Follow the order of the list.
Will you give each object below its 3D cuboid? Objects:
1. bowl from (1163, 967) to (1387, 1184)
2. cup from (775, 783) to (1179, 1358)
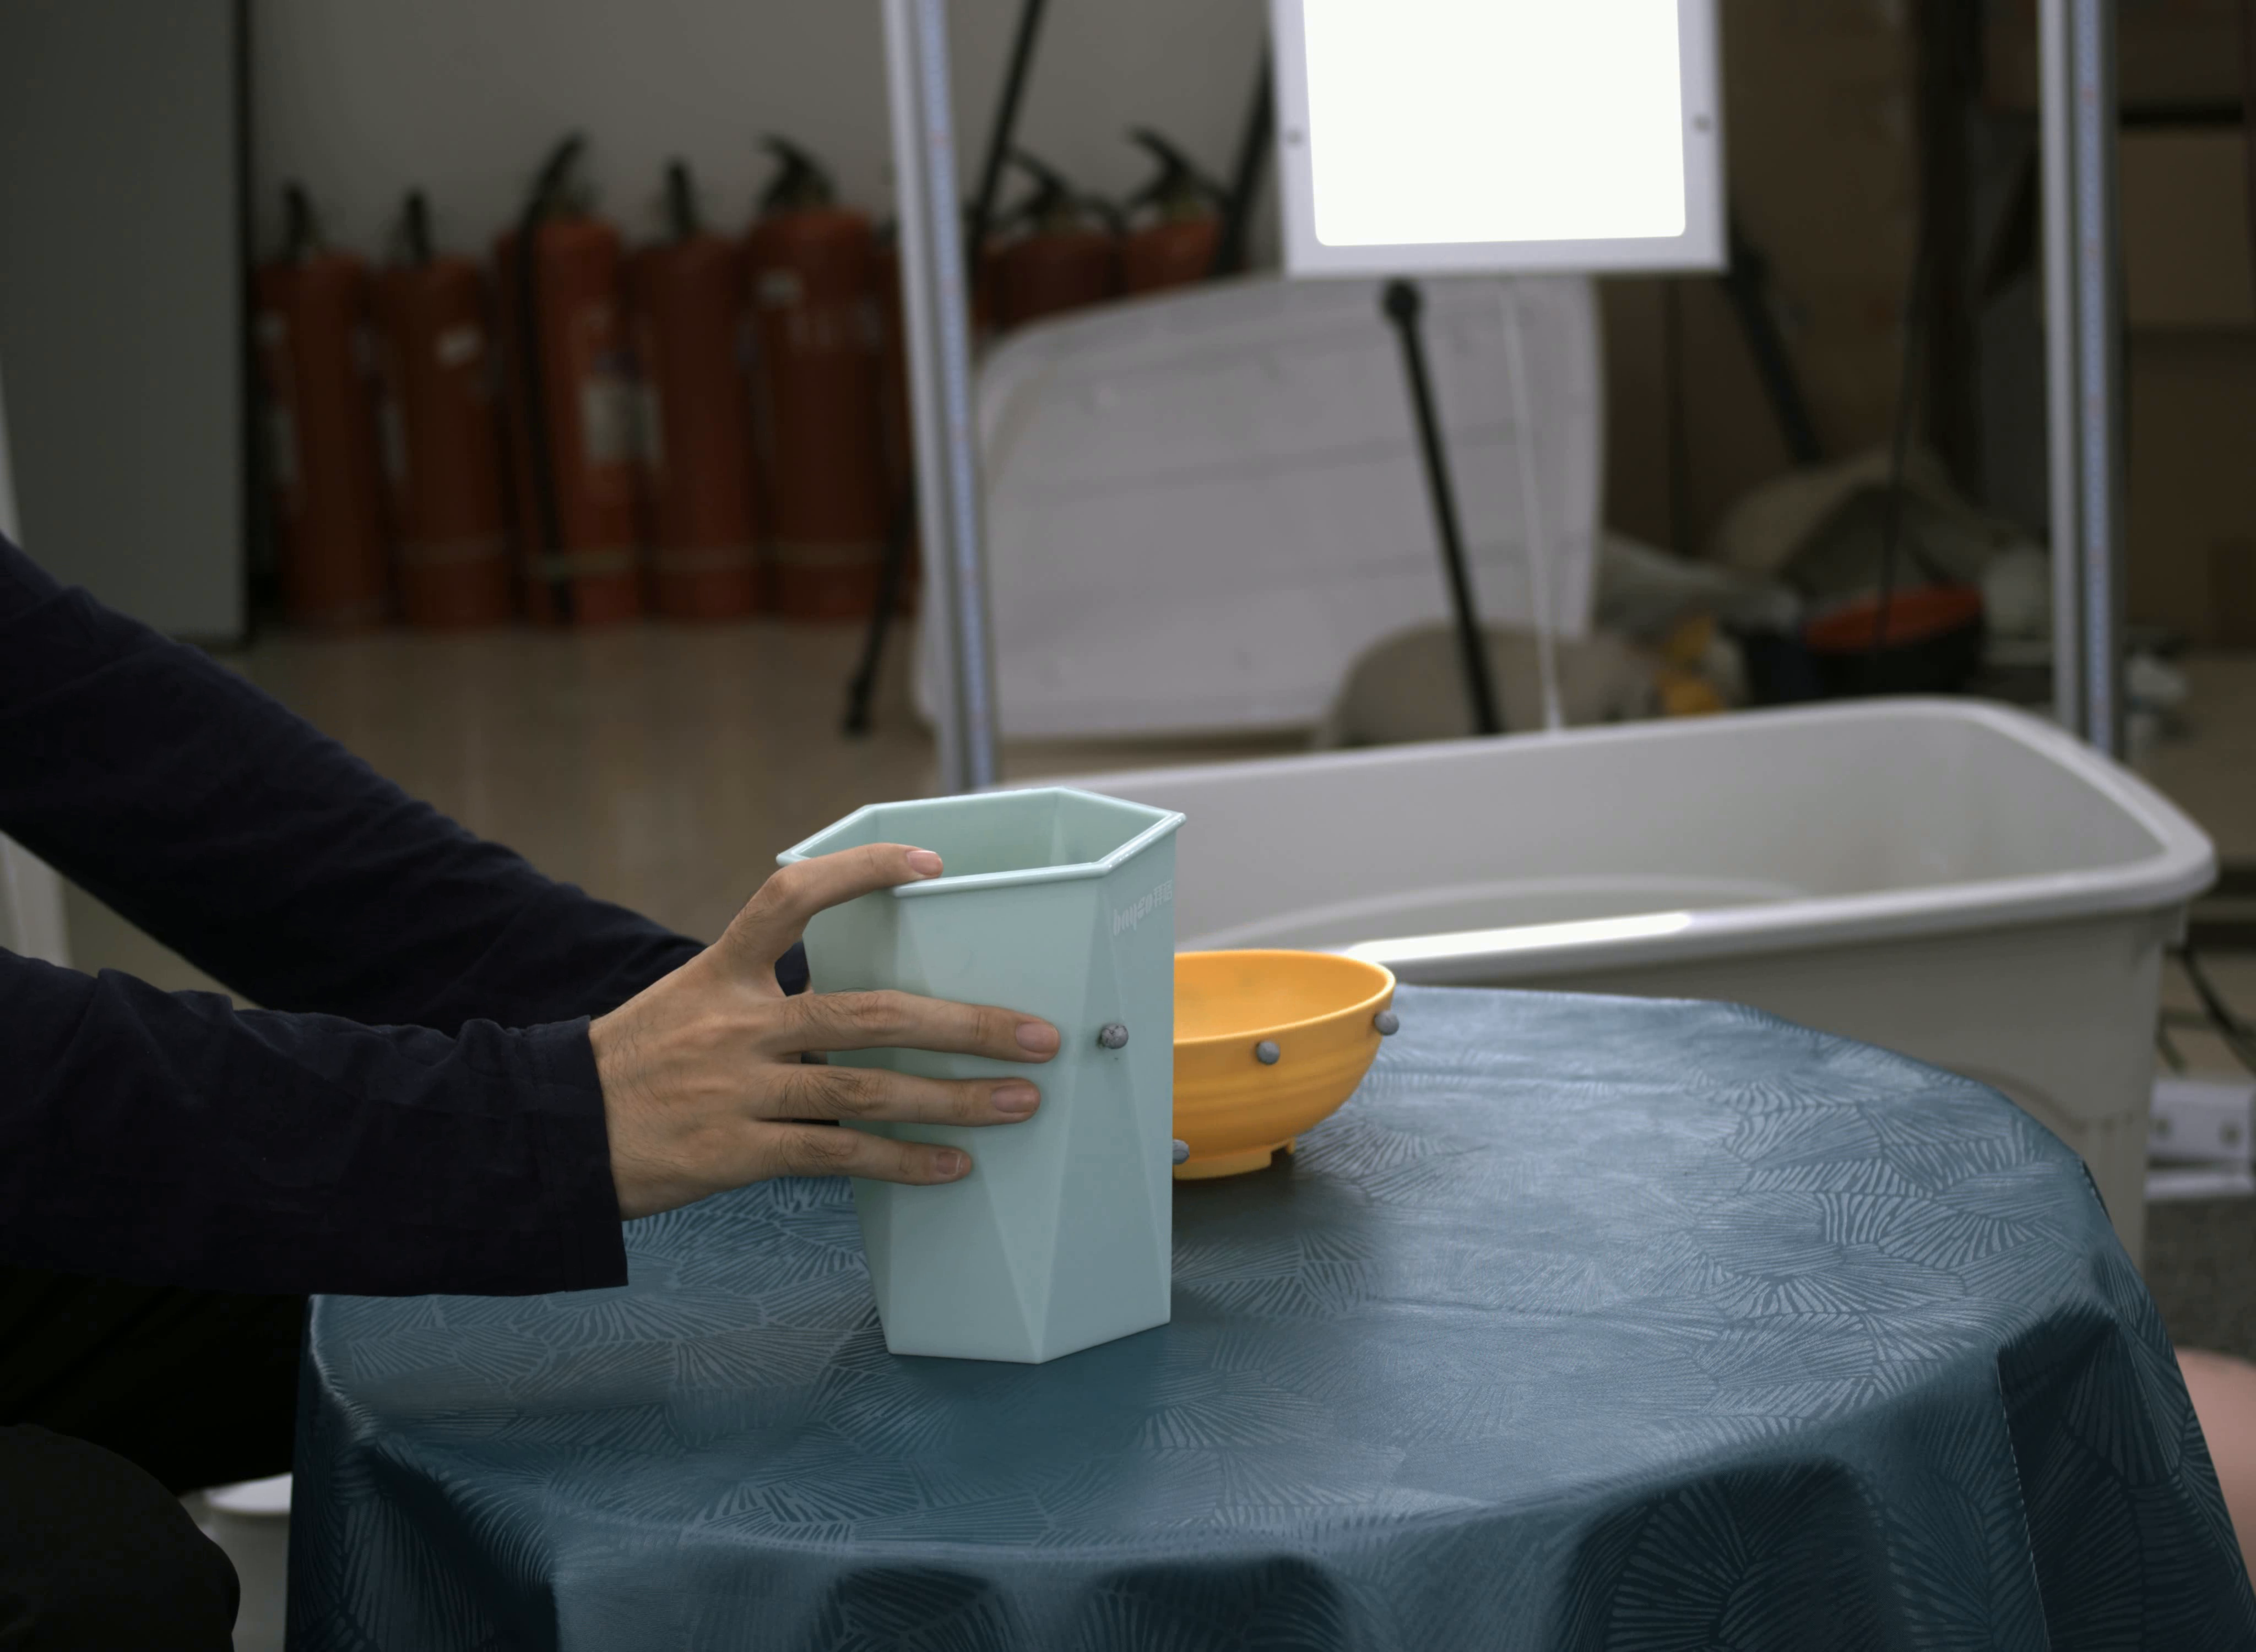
[{"bbox_3d":[0.022,0.090,1.921,0.145,0.060,0.145,-7,8,0],"label":"bowl"},{"bbox_3d":[-0.040,0.078,1.764,0.117,0.163,0.128,0,14,23],"label":"cup"}]
